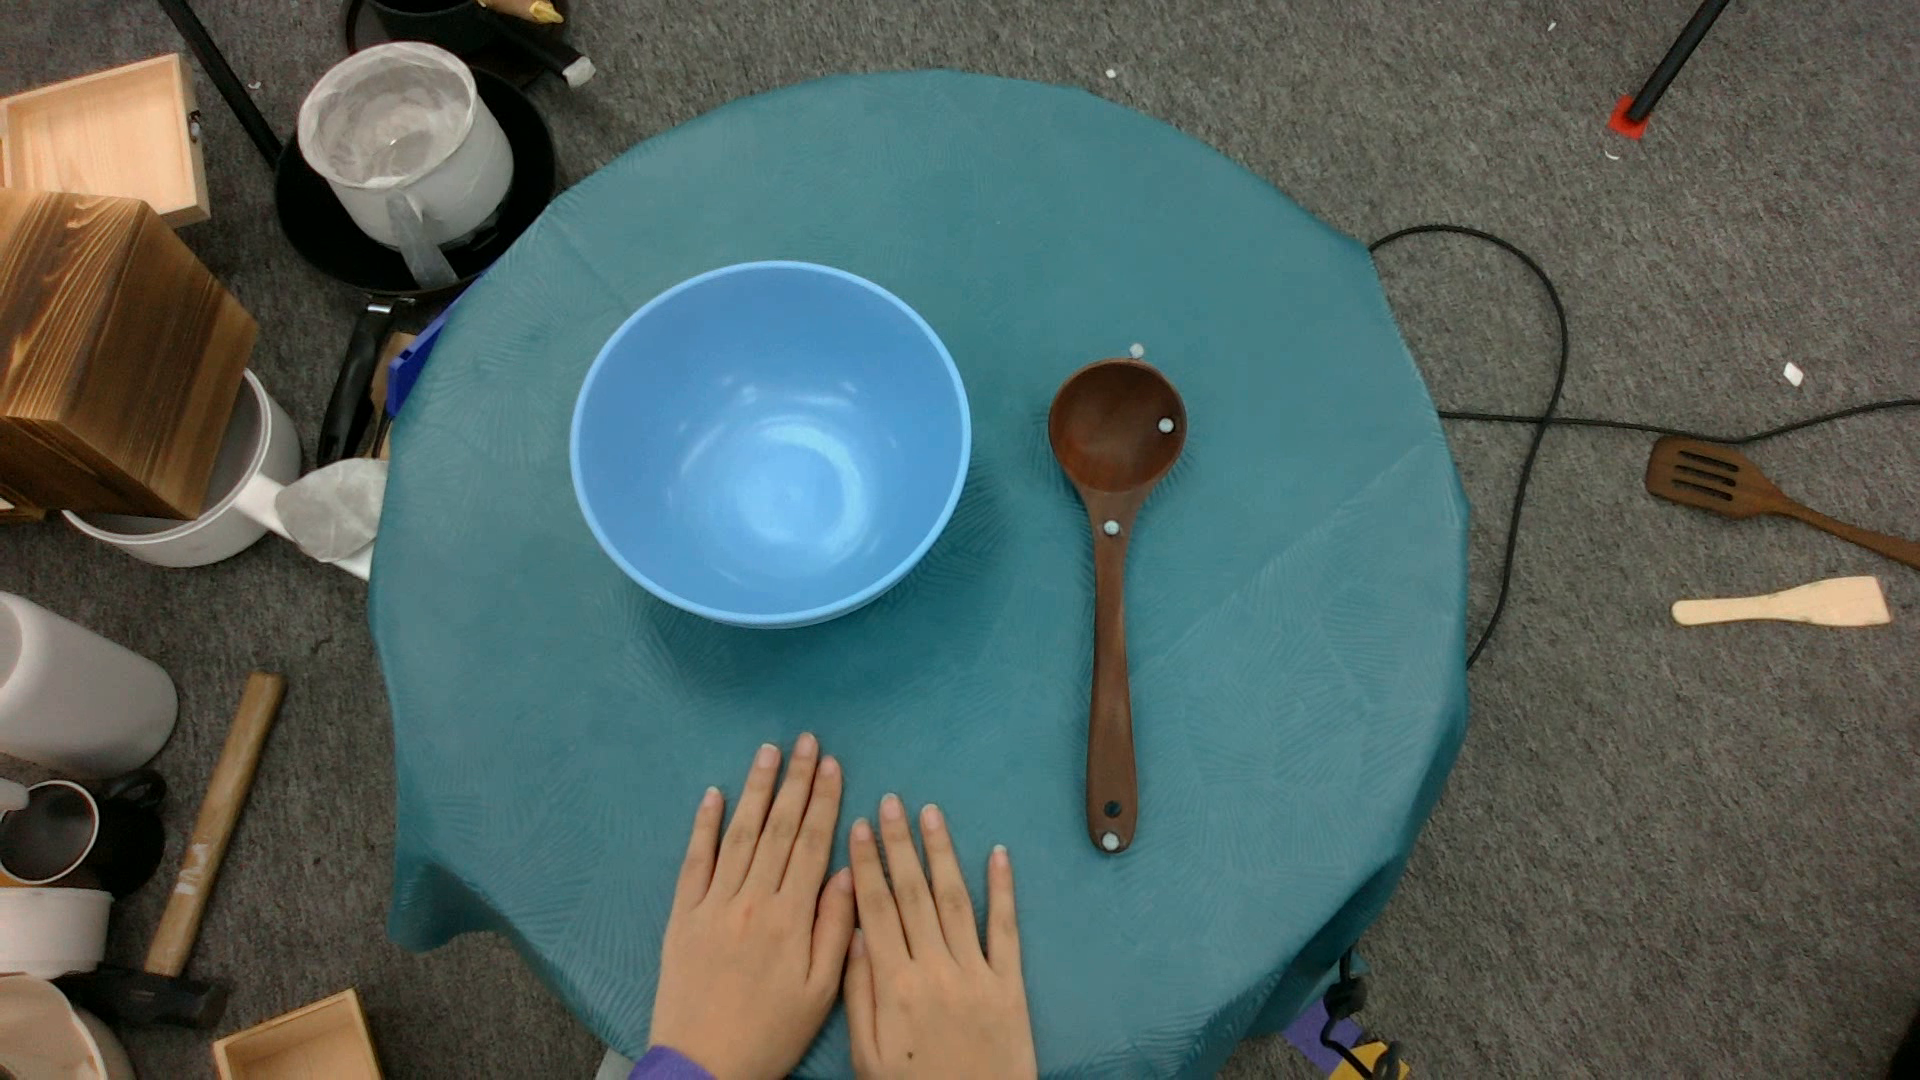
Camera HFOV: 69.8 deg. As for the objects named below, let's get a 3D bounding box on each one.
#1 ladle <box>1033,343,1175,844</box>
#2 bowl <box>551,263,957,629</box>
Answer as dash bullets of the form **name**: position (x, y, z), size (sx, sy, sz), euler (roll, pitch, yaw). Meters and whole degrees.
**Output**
- **ladle**: position (0.073, 0.022, 0.714), size (0.076, 0.065, 0.261), euler (1, 69, 6)
- **bowl**: position (-0.104, -0.036, 0.714), size (0.196, 0.095, 0.197), euler (3, 66, -6)
